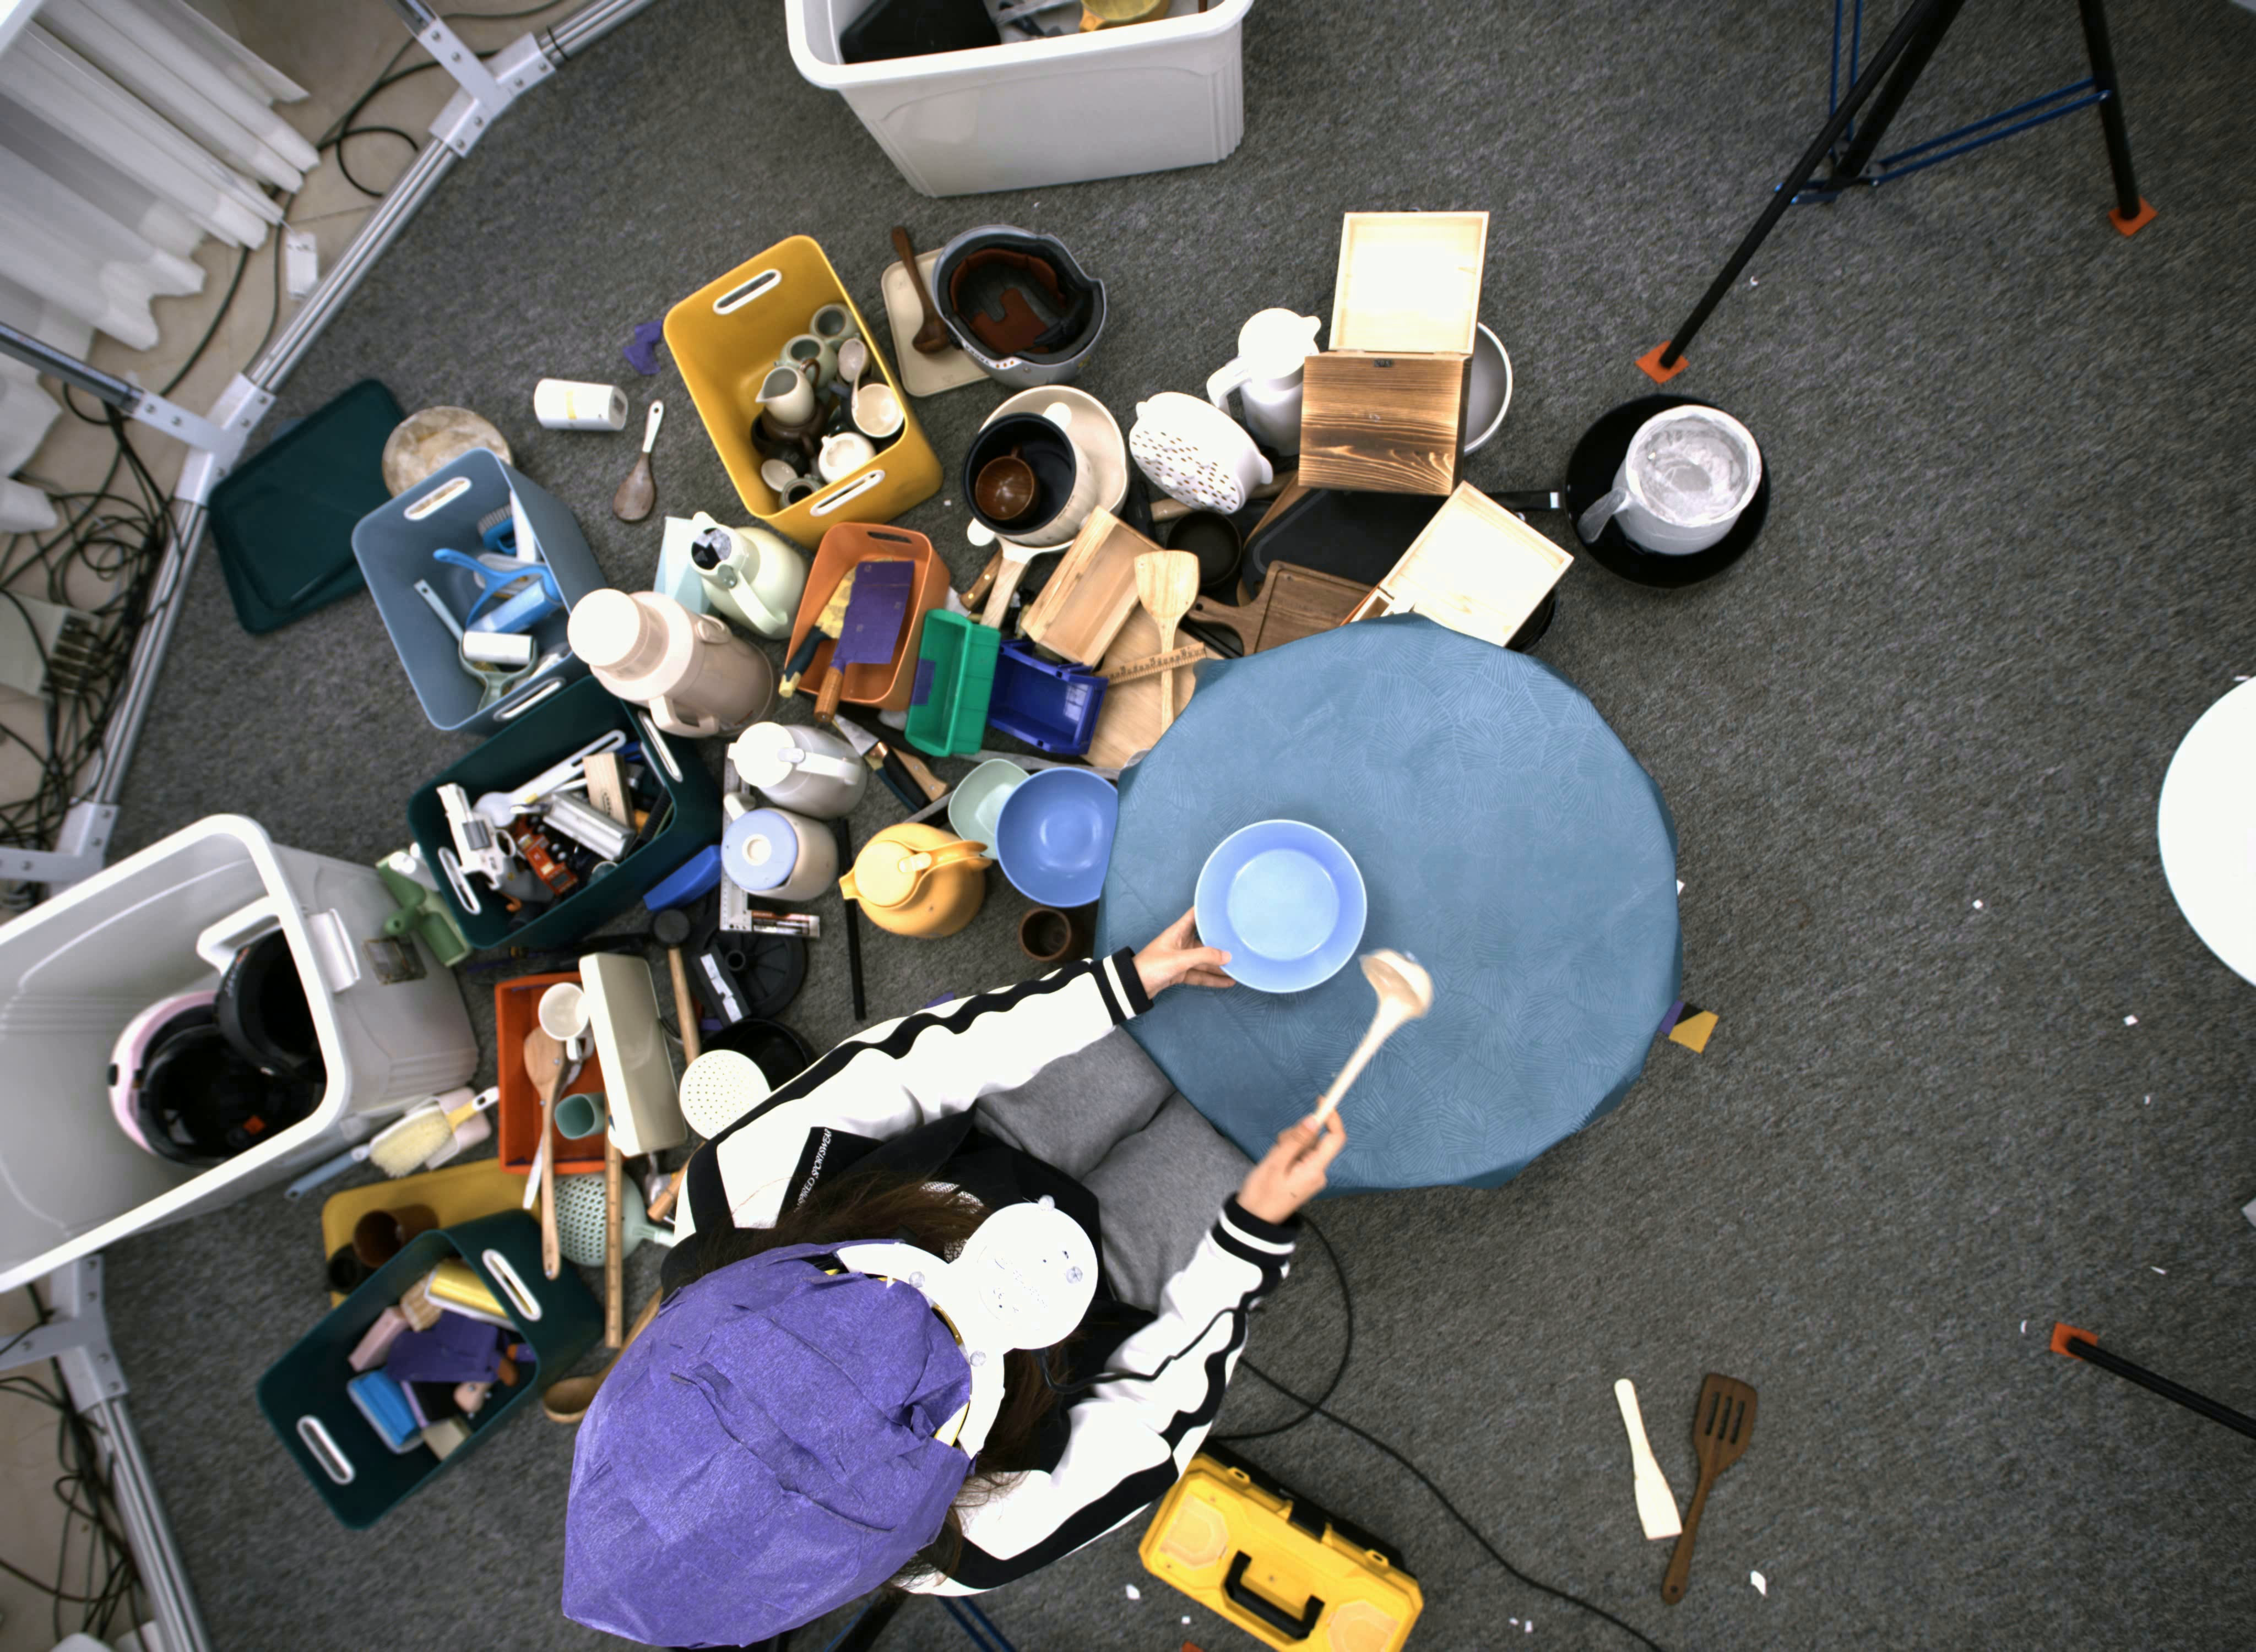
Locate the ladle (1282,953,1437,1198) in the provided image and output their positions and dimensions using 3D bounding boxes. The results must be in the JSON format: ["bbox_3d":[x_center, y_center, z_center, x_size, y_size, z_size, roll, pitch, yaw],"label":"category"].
[{"bbox_3d":[0.201,0.234,1.290,0.071,0.073,0.255,34,94,34],"label":"ladle"}]

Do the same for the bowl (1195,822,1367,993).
[{"bbox_3d":[0.160,0.083,1.441,0.177,0.070,0.176,0,90,11],"label":"bowl"}]
